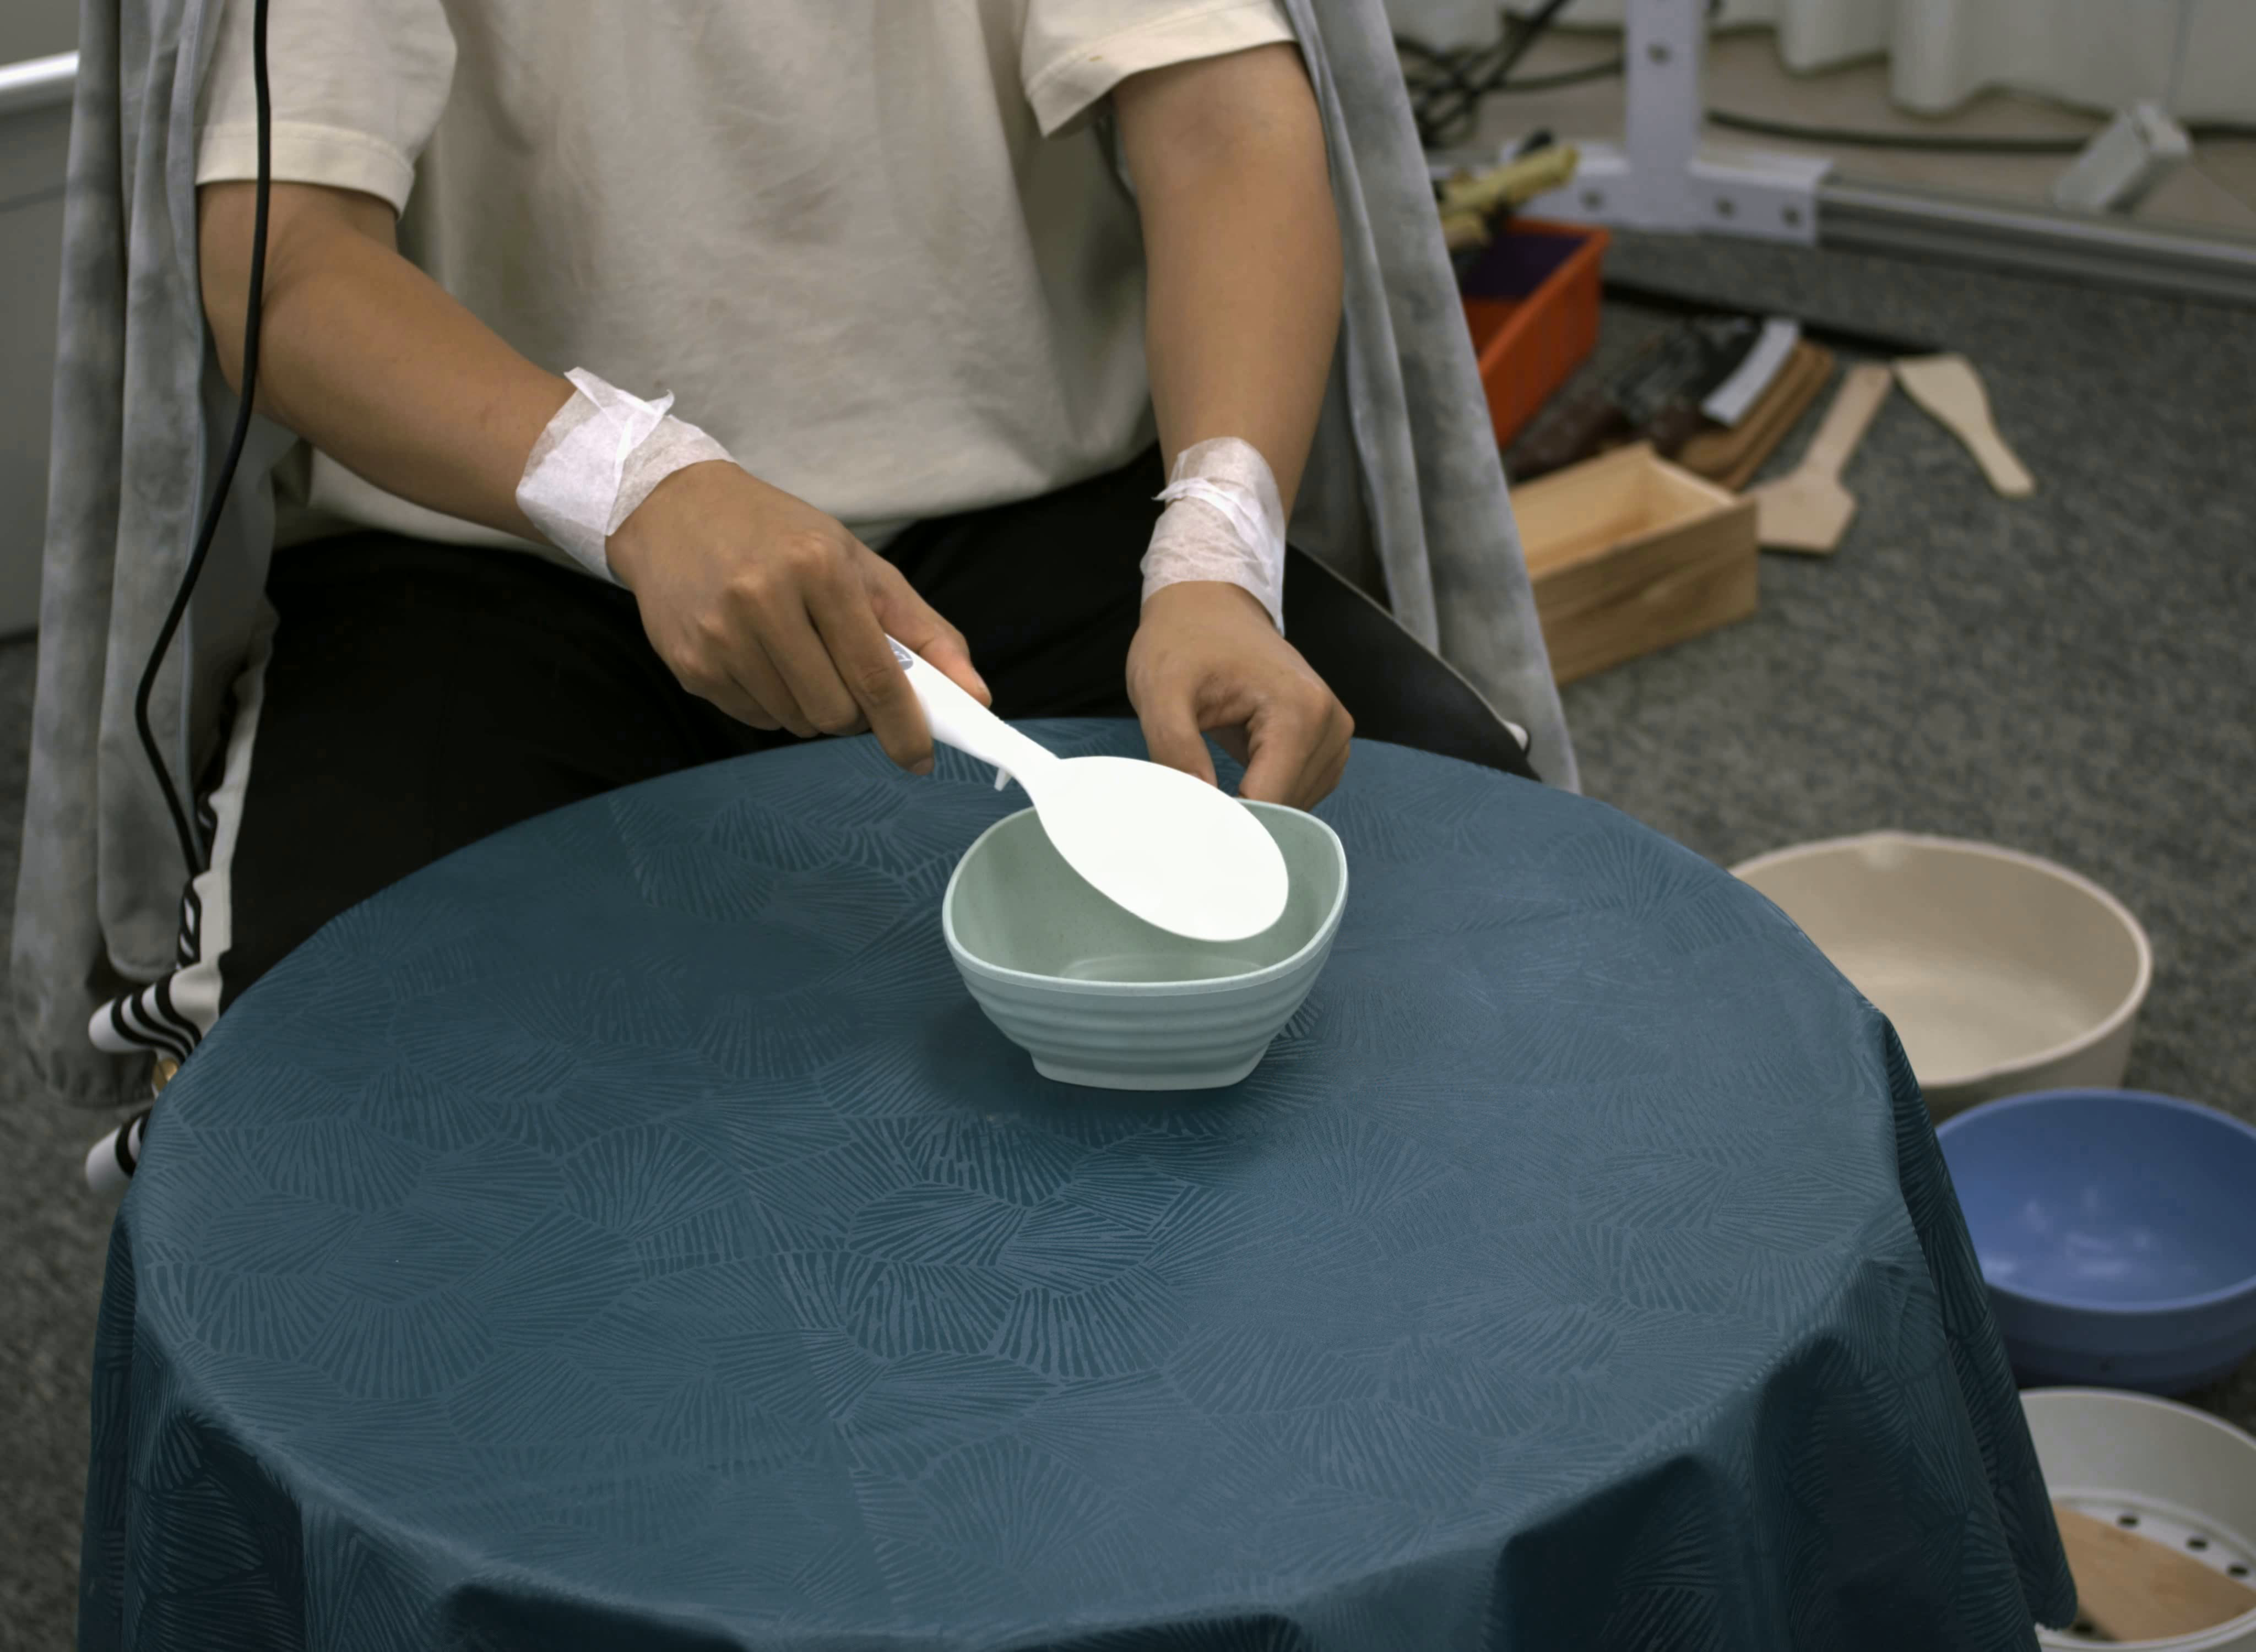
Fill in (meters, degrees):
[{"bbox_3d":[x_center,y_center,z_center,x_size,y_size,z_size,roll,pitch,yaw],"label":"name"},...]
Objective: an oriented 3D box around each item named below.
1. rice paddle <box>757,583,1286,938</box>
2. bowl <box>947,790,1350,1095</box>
[{"bbox_3d":[-0.035,-0.022,1.956,0.205,0.029,0.070,30,49,9],"label":"rice paddle"},{"bbox_3d":[0.009,0.046,1.945,0.150,0.058,0.154,-3,29,2],"label":"bowl"}]
